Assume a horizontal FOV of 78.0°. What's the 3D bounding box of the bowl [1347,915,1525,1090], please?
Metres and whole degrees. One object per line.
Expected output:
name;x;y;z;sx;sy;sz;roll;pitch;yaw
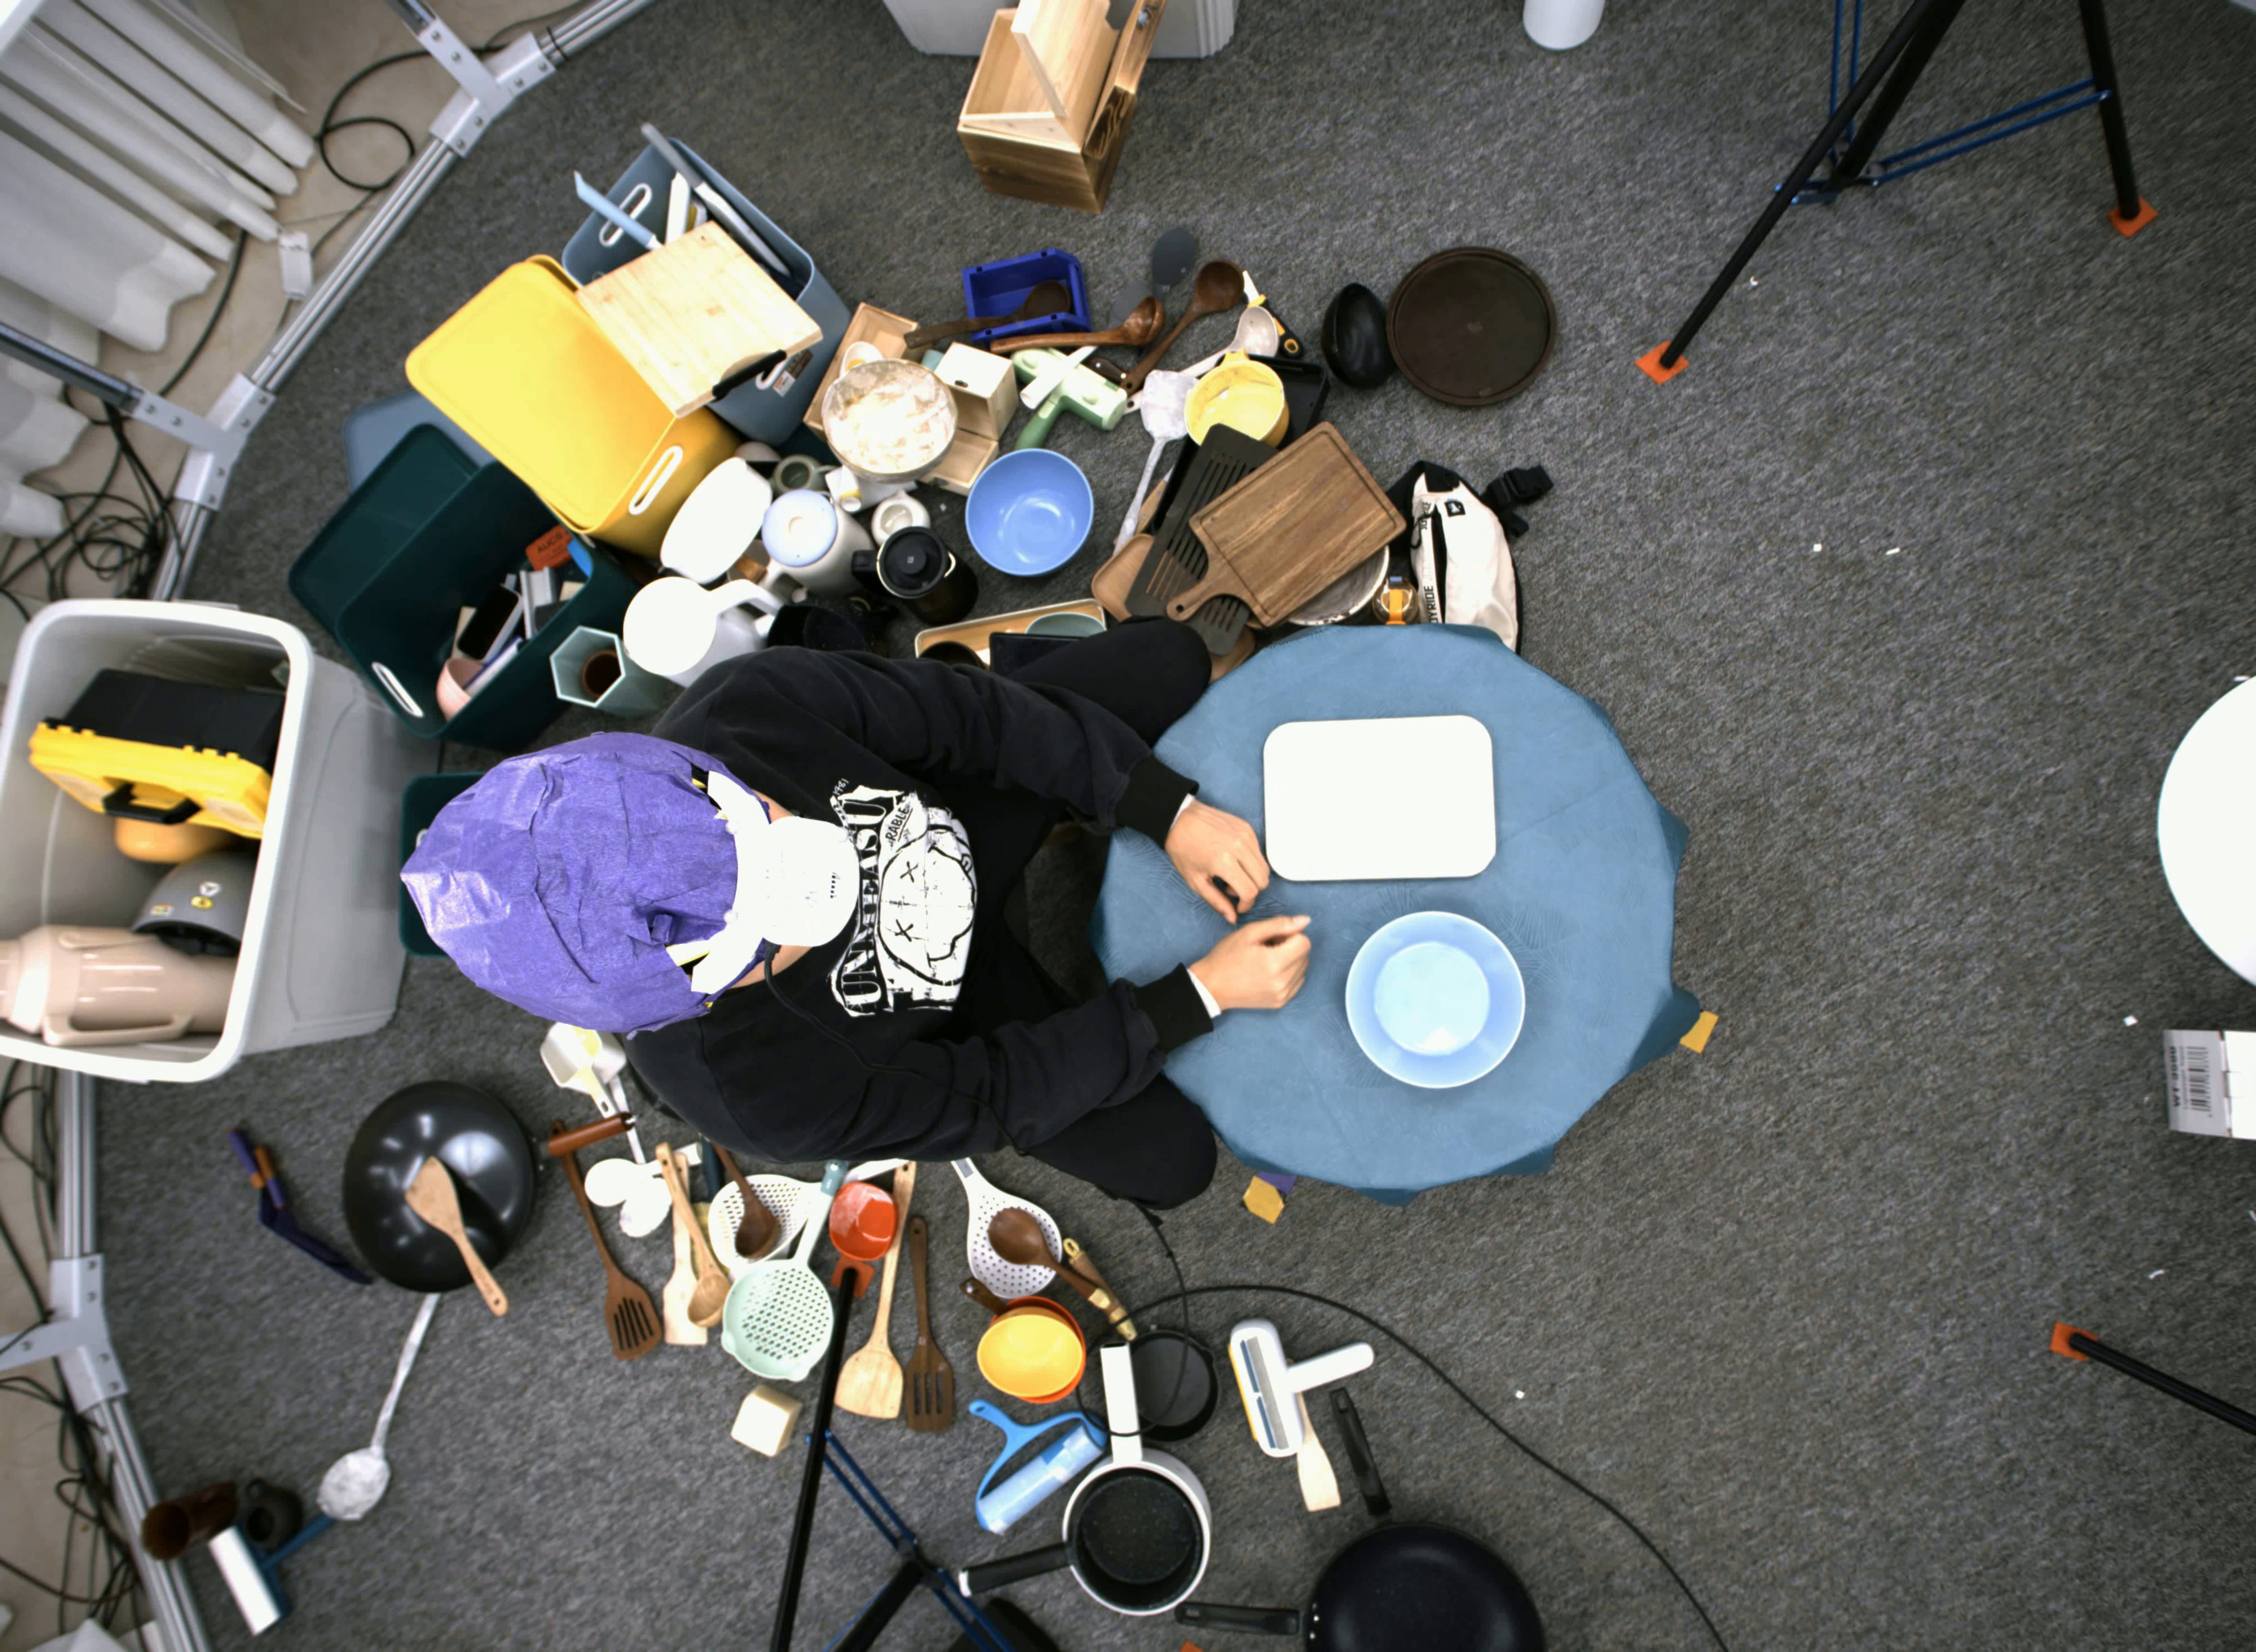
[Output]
bowl;0.313;0.178;1.414;0.177;0.070;0.175;-1;85;9

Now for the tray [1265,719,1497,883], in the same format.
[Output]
tray;0.267;-0.027;1.463;0.240;0.017;0.170;-2;85;10
